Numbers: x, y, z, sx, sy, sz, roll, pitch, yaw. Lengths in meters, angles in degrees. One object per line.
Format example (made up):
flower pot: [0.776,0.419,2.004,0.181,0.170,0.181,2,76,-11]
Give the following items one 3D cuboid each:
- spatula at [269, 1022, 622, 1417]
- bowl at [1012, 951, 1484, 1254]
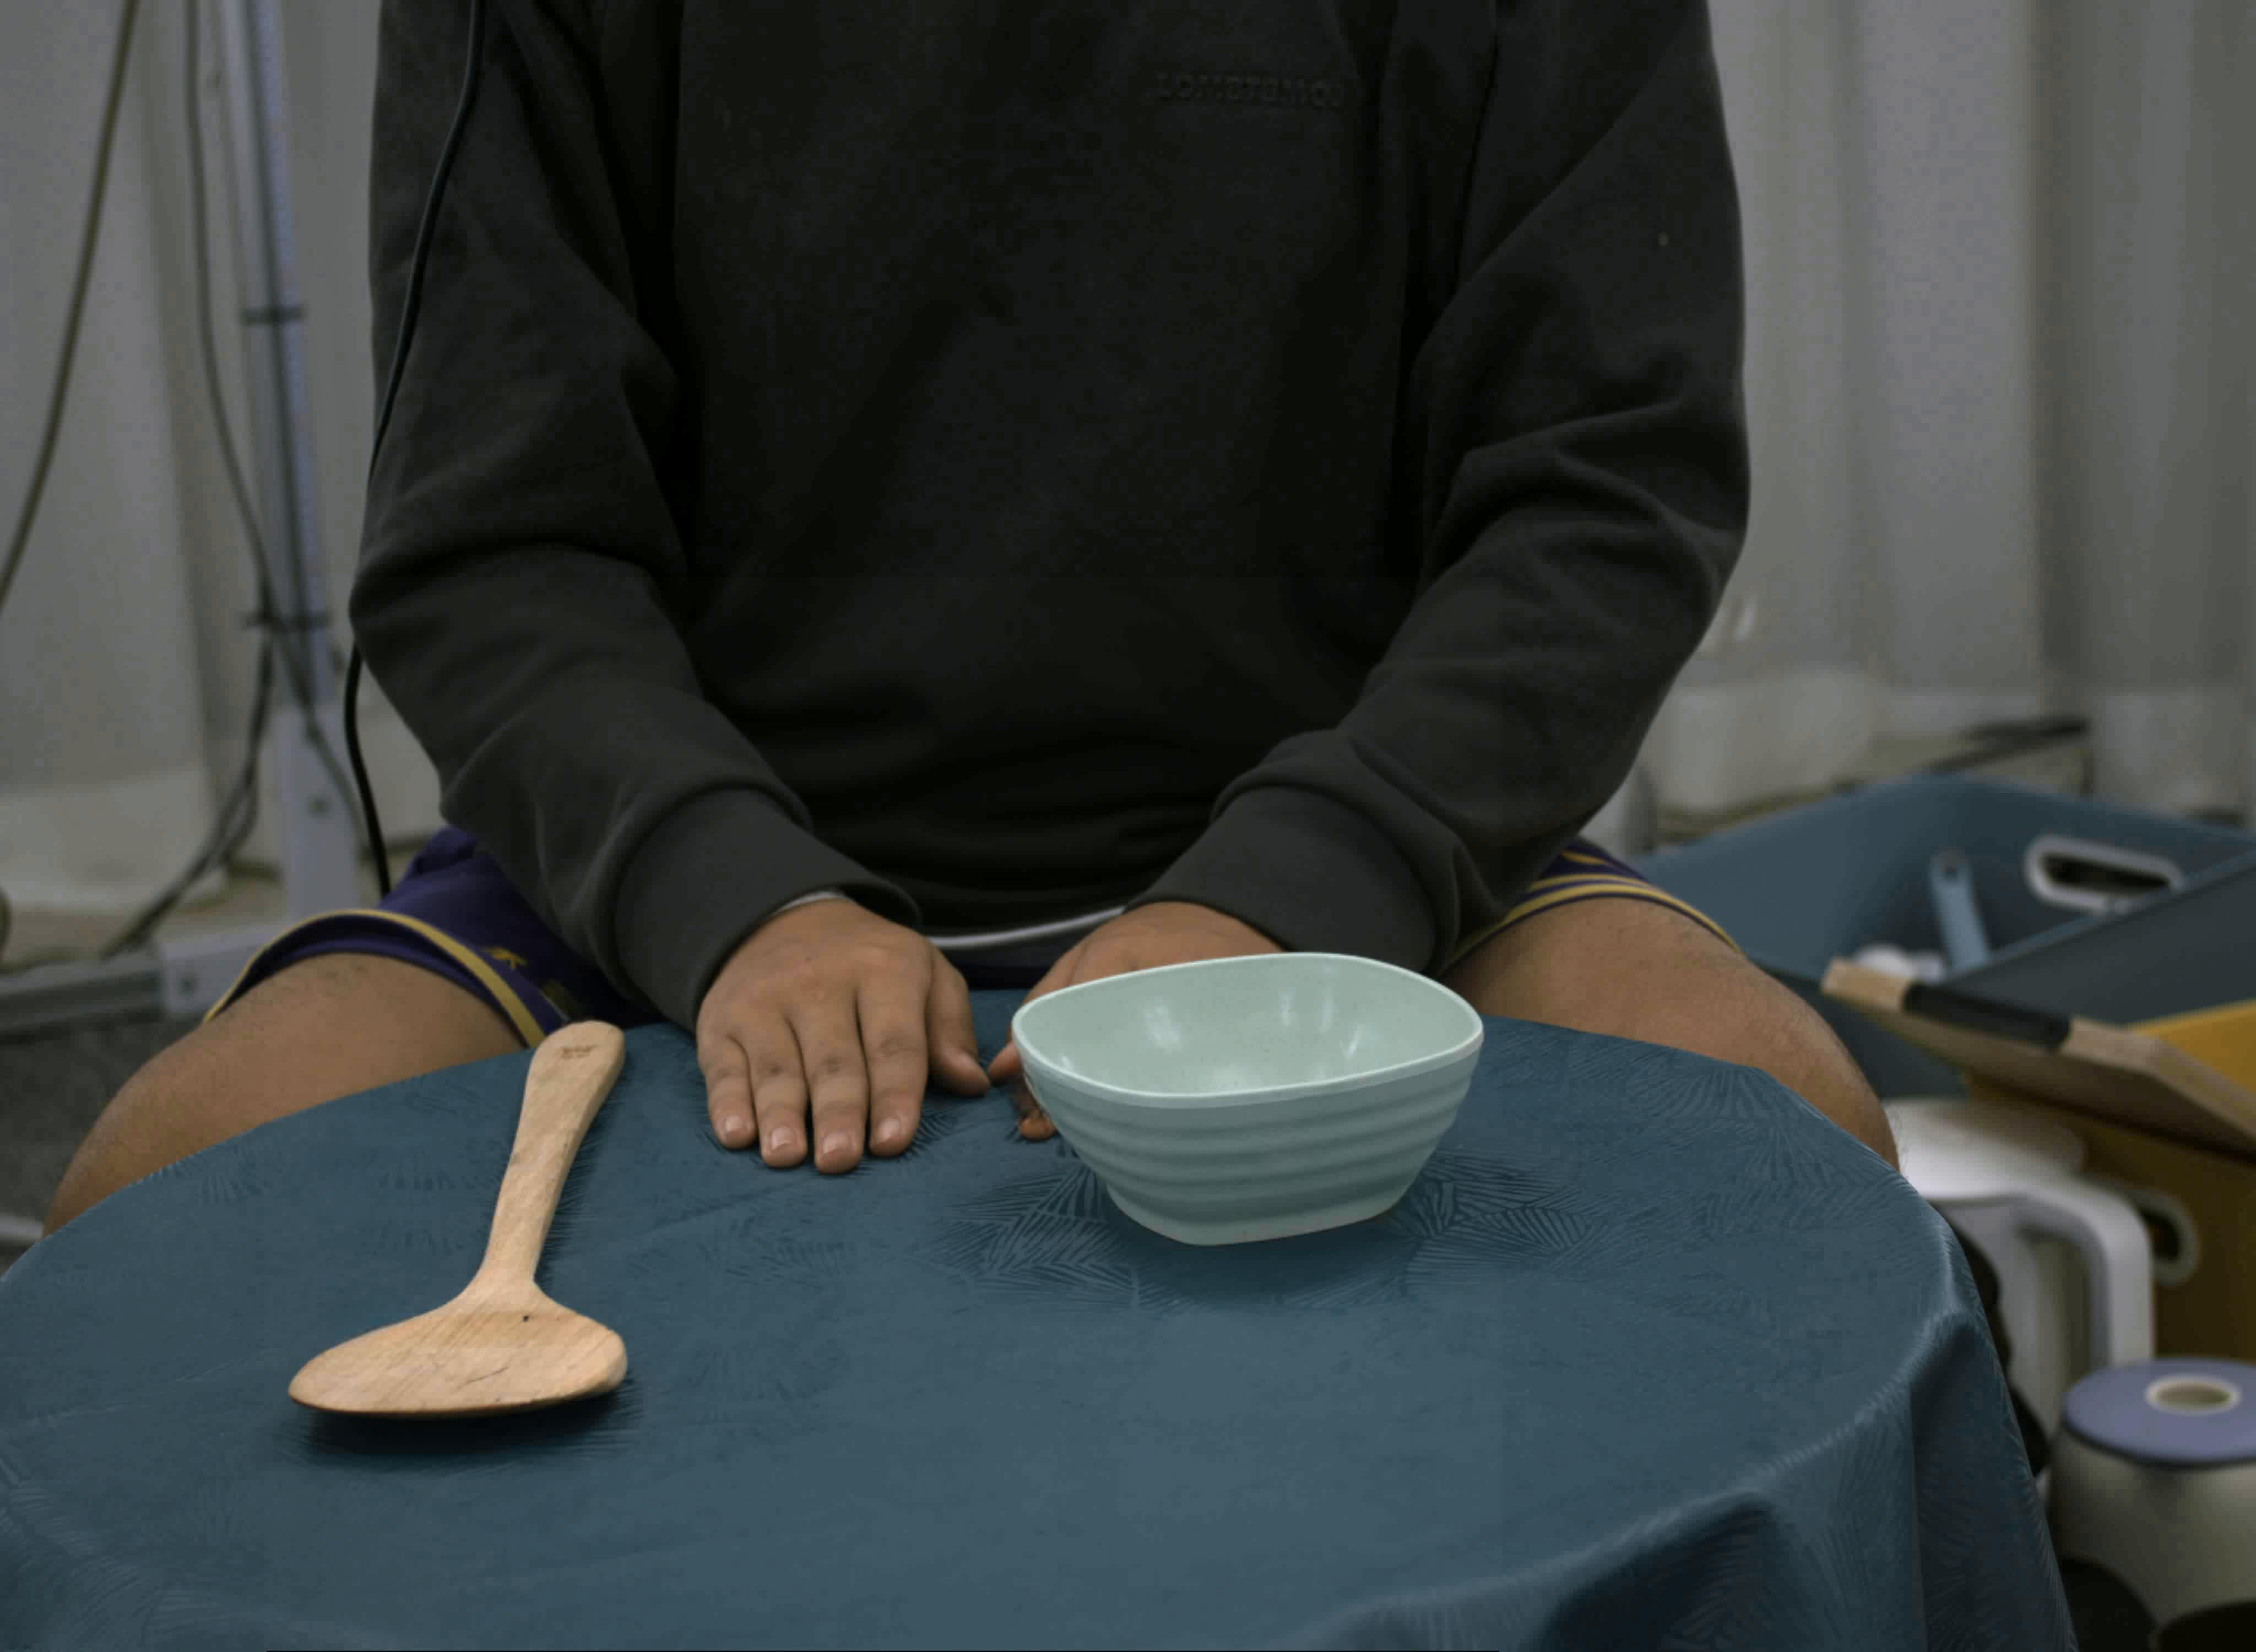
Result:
spatula: [-0.194,0.118,1.708,0.095,0.018,0.393,-1,15,0]
bowl: [0.038,0.089,1.700,0.151,0.058,0.152,-2,16,0]
